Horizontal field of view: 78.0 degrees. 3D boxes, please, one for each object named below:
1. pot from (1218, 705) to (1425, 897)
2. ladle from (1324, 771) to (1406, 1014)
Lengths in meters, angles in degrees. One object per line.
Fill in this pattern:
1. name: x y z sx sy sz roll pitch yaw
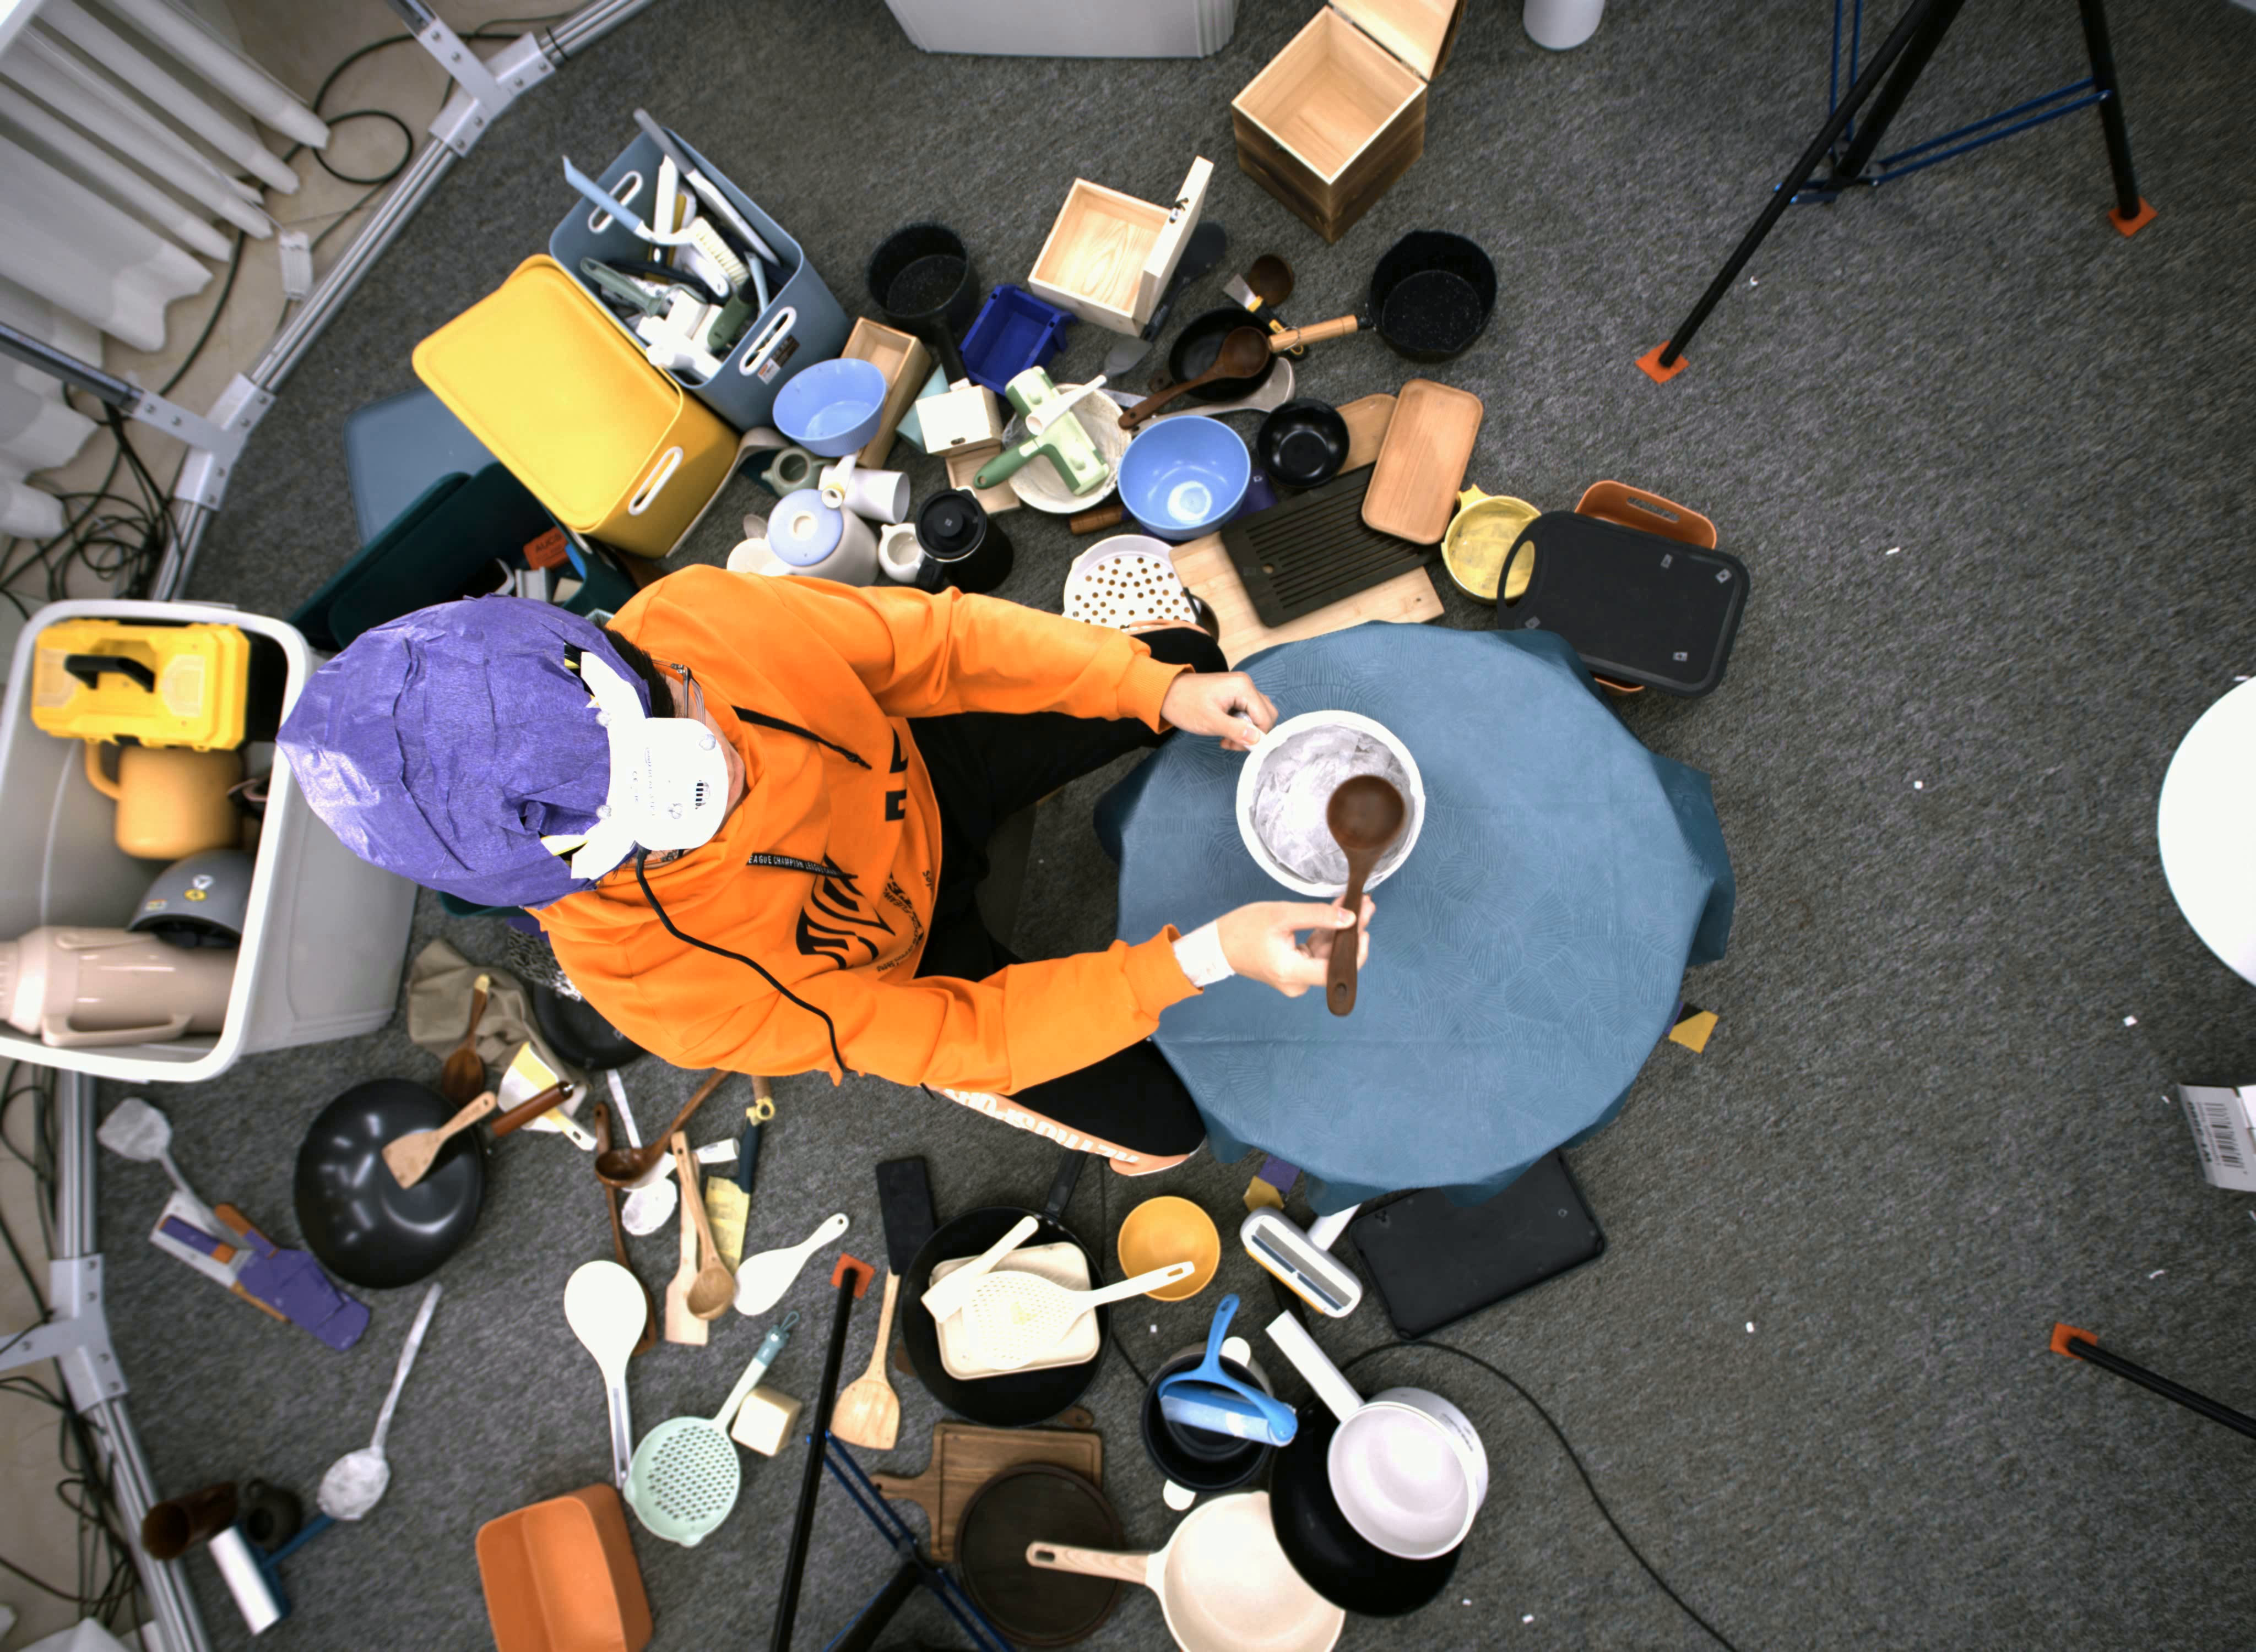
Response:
1. pot: 0.181 -0.038 1.364 0.233 0.136 0.180 40 98 9
2. ladle: 0.199 0.051 1.229 0.077 0.066 0.253 -5 41 23
